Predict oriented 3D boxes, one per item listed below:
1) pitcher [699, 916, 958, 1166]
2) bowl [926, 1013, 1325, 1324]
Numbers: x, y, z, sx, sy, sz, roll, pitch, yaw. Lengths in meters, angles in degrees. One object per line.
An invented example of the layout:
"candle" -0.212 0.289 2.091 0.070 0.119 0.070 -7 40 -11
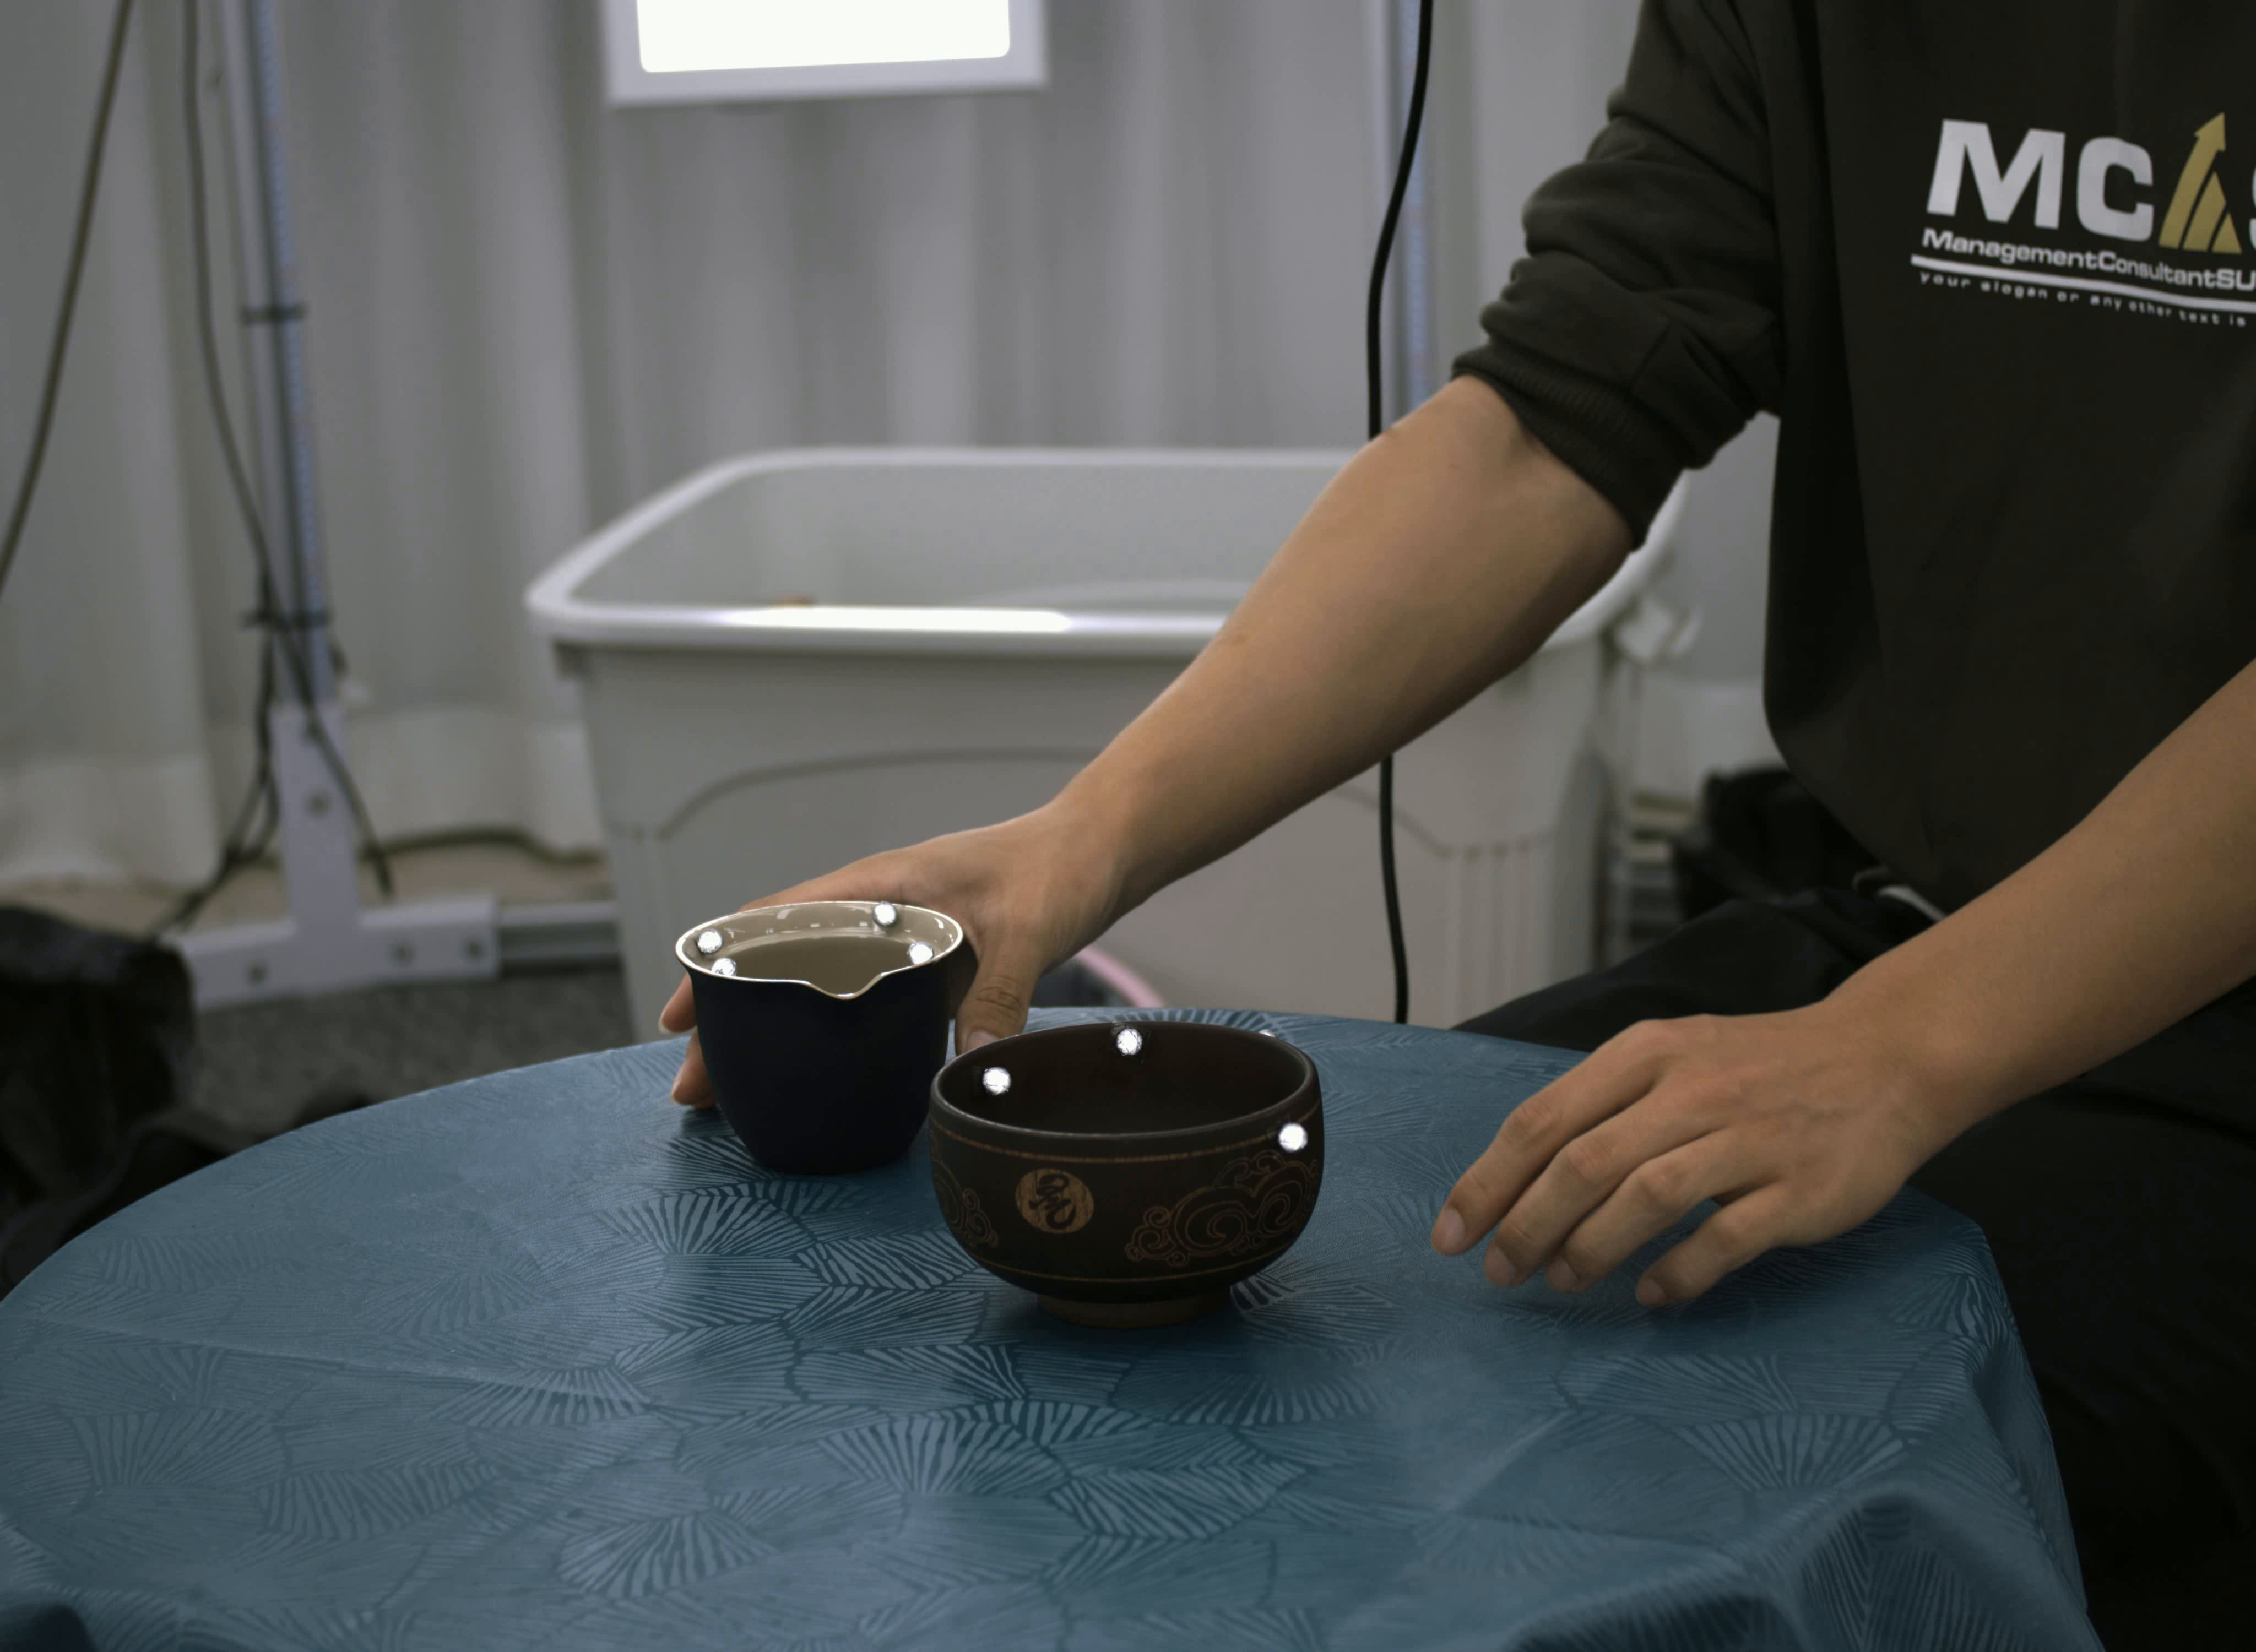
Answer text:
"pitcher" -0.095 0.070 1.759 0.083 0.071 0.096 -2 14 -5
"bowl" 0.000 0.105 1.616 0.117 0.069 0.119 -5 15 1
